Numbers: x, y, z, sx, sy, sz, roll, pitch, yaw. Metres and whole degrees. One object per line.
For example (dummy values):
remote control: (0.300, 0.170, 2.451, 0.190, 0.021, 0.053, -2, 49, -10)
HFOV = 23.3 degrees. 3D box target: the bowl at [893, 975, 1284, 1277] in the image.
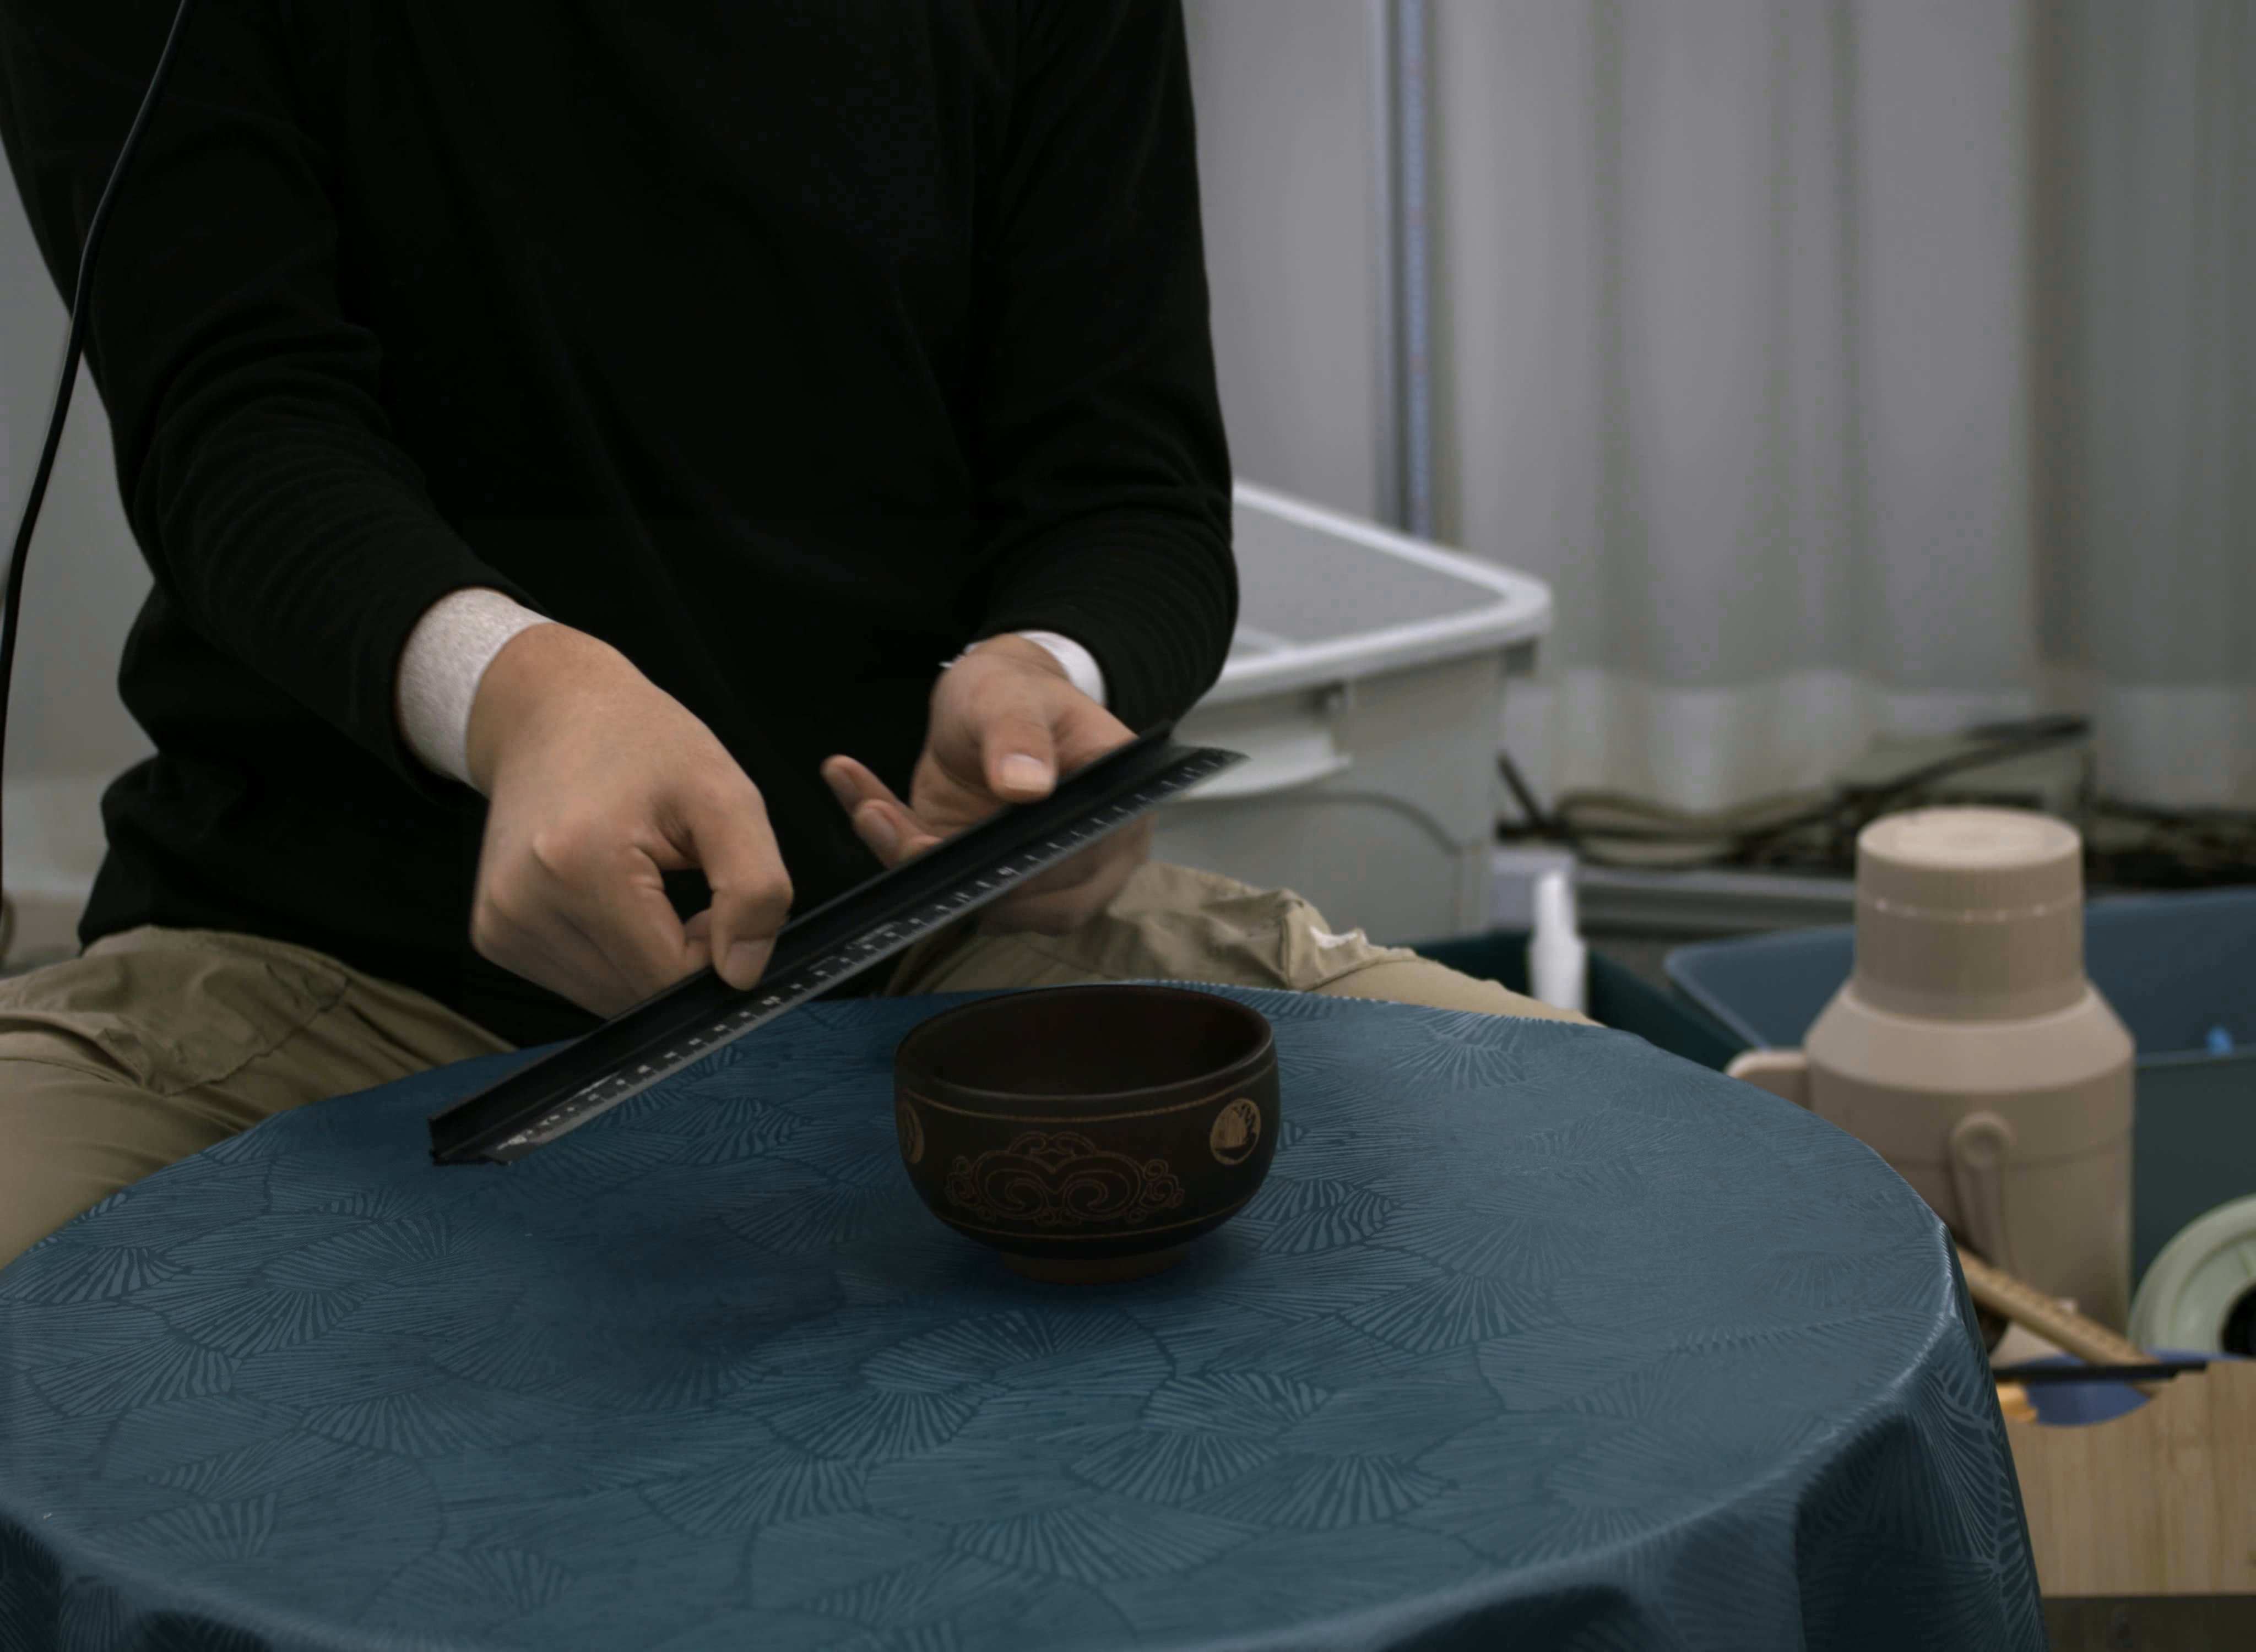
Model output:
bowl: (-0.011, 0.094, 1.650, 0.117, 0.069, 0.119, -2, 15, 0)

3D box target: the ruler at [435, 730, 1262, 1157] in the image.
ruler: (-0.078, 0.031, 1.636, 0.313, 0.017, 0.039, -27, 19, -38)
